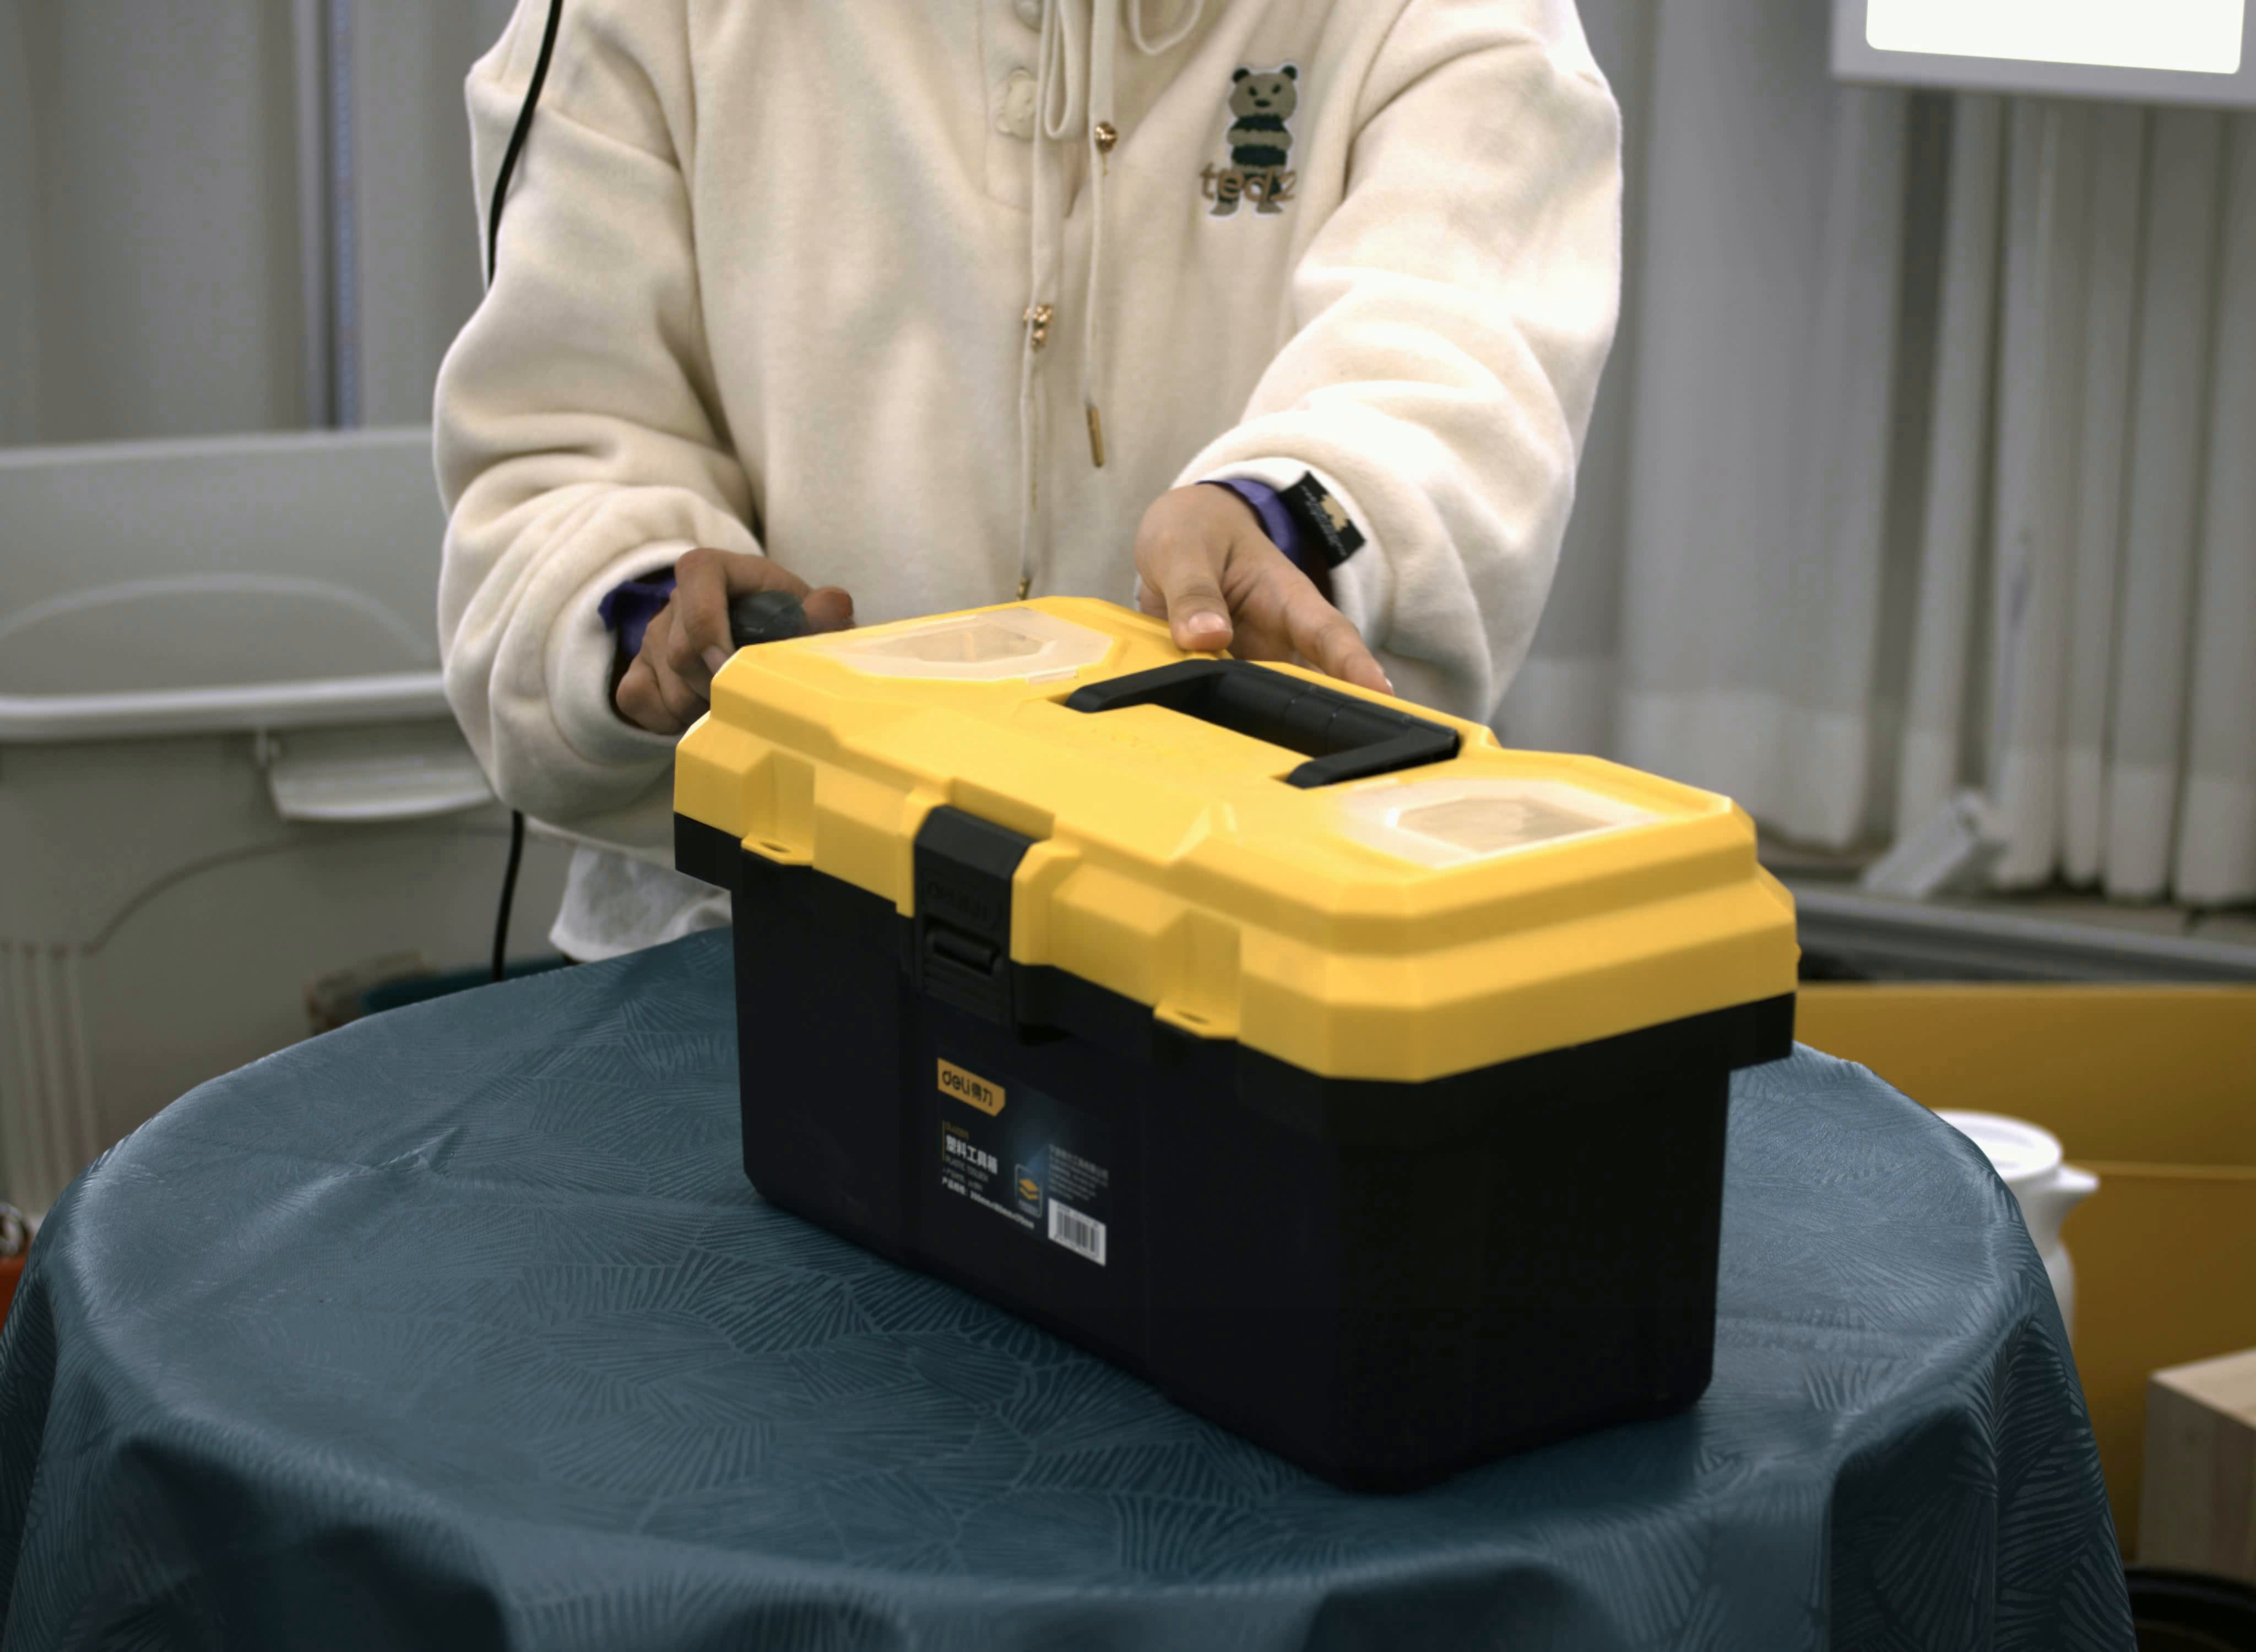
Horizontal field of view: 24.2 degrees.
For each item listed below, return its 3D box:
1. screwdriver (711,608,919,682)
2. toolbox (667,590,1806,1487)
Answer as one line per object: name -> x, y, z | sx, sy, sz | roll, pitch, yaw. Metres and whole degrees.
screwdriver -> -0.099, -0.057, 1.721 | 0.031, 0.031, 0.196 | -5, 4, -21
toolbox -> 0.023, 0.052, 1.513 | 0.182, 0.174, 0.347 | -11, 19, -35
